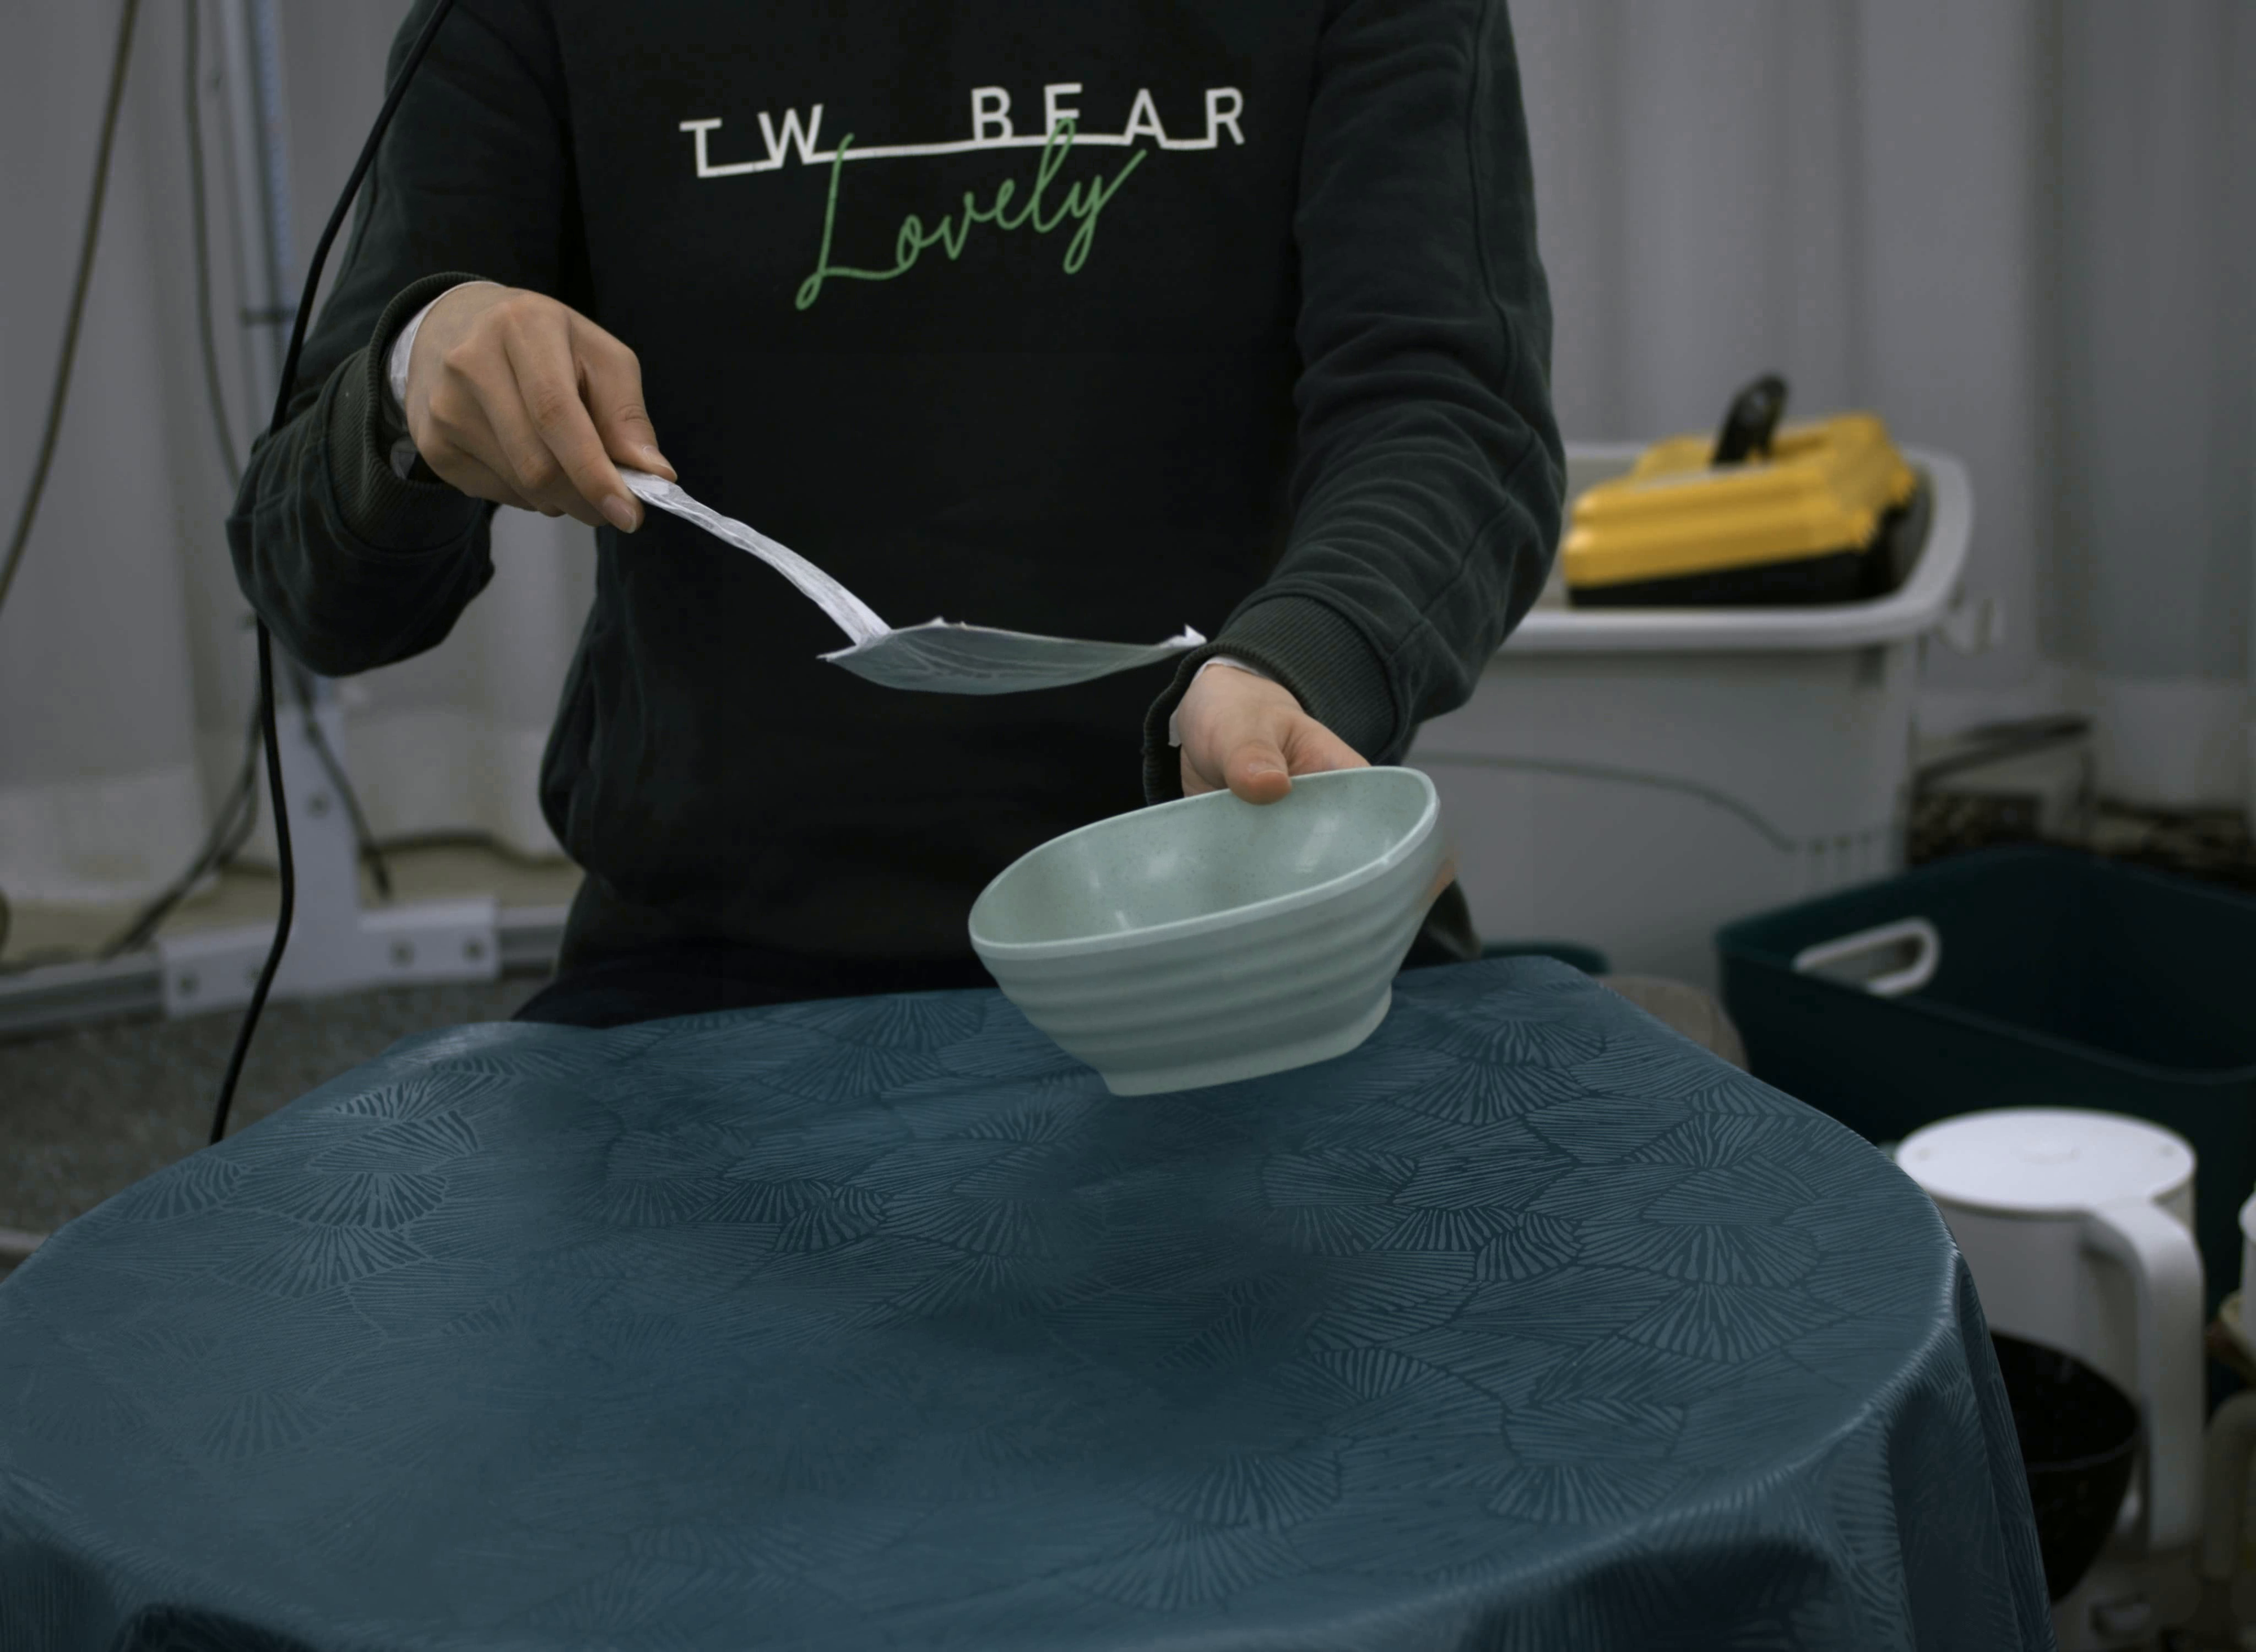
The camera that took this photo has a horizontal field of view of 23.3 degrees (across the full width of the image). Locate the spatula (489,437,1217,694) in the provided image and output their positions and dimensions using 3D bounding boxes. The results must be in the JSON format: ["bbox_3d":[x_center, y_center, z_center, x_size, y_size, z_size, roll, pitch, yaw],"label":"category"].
[{"bbox_3d":[-0.108,-0.090,1.672,0.098,0.044,0.368,0,18,-36],"label":"spatula"}]

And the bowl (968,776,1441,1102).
[{"bbox_3d":[0.028,0.037,1.589,0.151,0.058,0.152,-13,14,3],"label":"bowl"}]
